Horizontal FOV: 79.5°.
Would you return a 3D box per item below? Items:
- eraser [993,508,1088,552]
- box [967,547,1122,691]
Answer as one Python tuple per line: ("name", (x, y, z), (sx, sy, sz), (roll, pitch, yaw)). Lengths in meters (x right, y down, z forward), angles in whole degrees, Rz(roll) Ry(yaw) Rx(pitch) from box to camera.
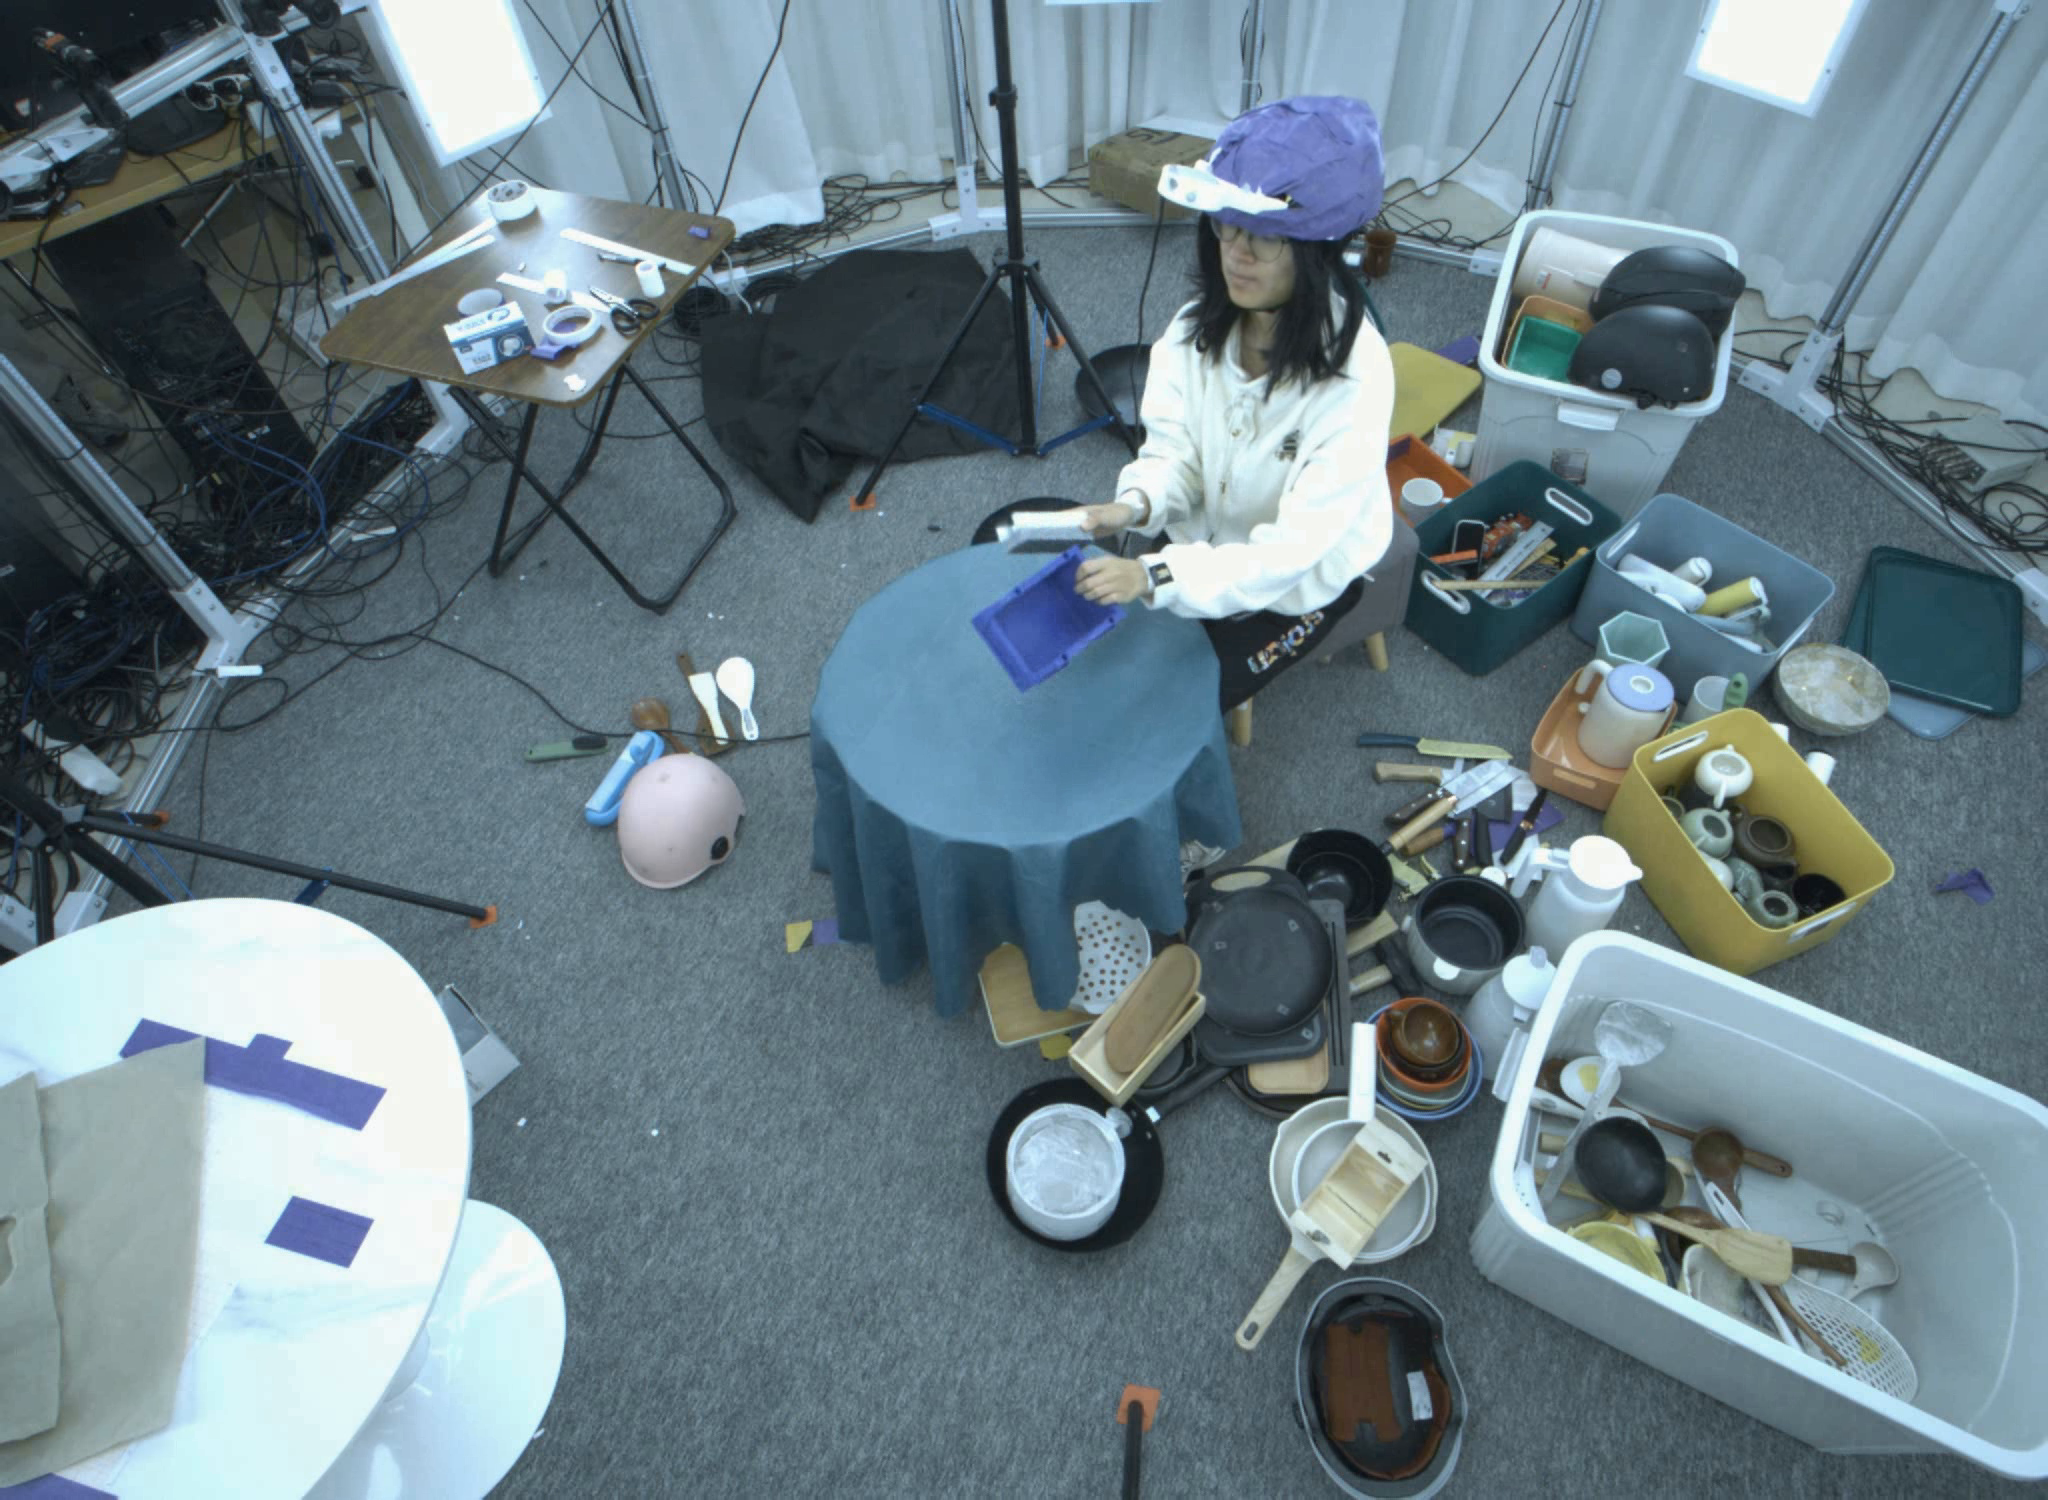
("eraser", (0.025, -0.309, 1.729), (0.137, 0.049, 0.046), (-8, 76, -42))
("box", (0.026, -0.175, 1.674), (0.181, 0.081, 0.125), (-38, 97, -37))
